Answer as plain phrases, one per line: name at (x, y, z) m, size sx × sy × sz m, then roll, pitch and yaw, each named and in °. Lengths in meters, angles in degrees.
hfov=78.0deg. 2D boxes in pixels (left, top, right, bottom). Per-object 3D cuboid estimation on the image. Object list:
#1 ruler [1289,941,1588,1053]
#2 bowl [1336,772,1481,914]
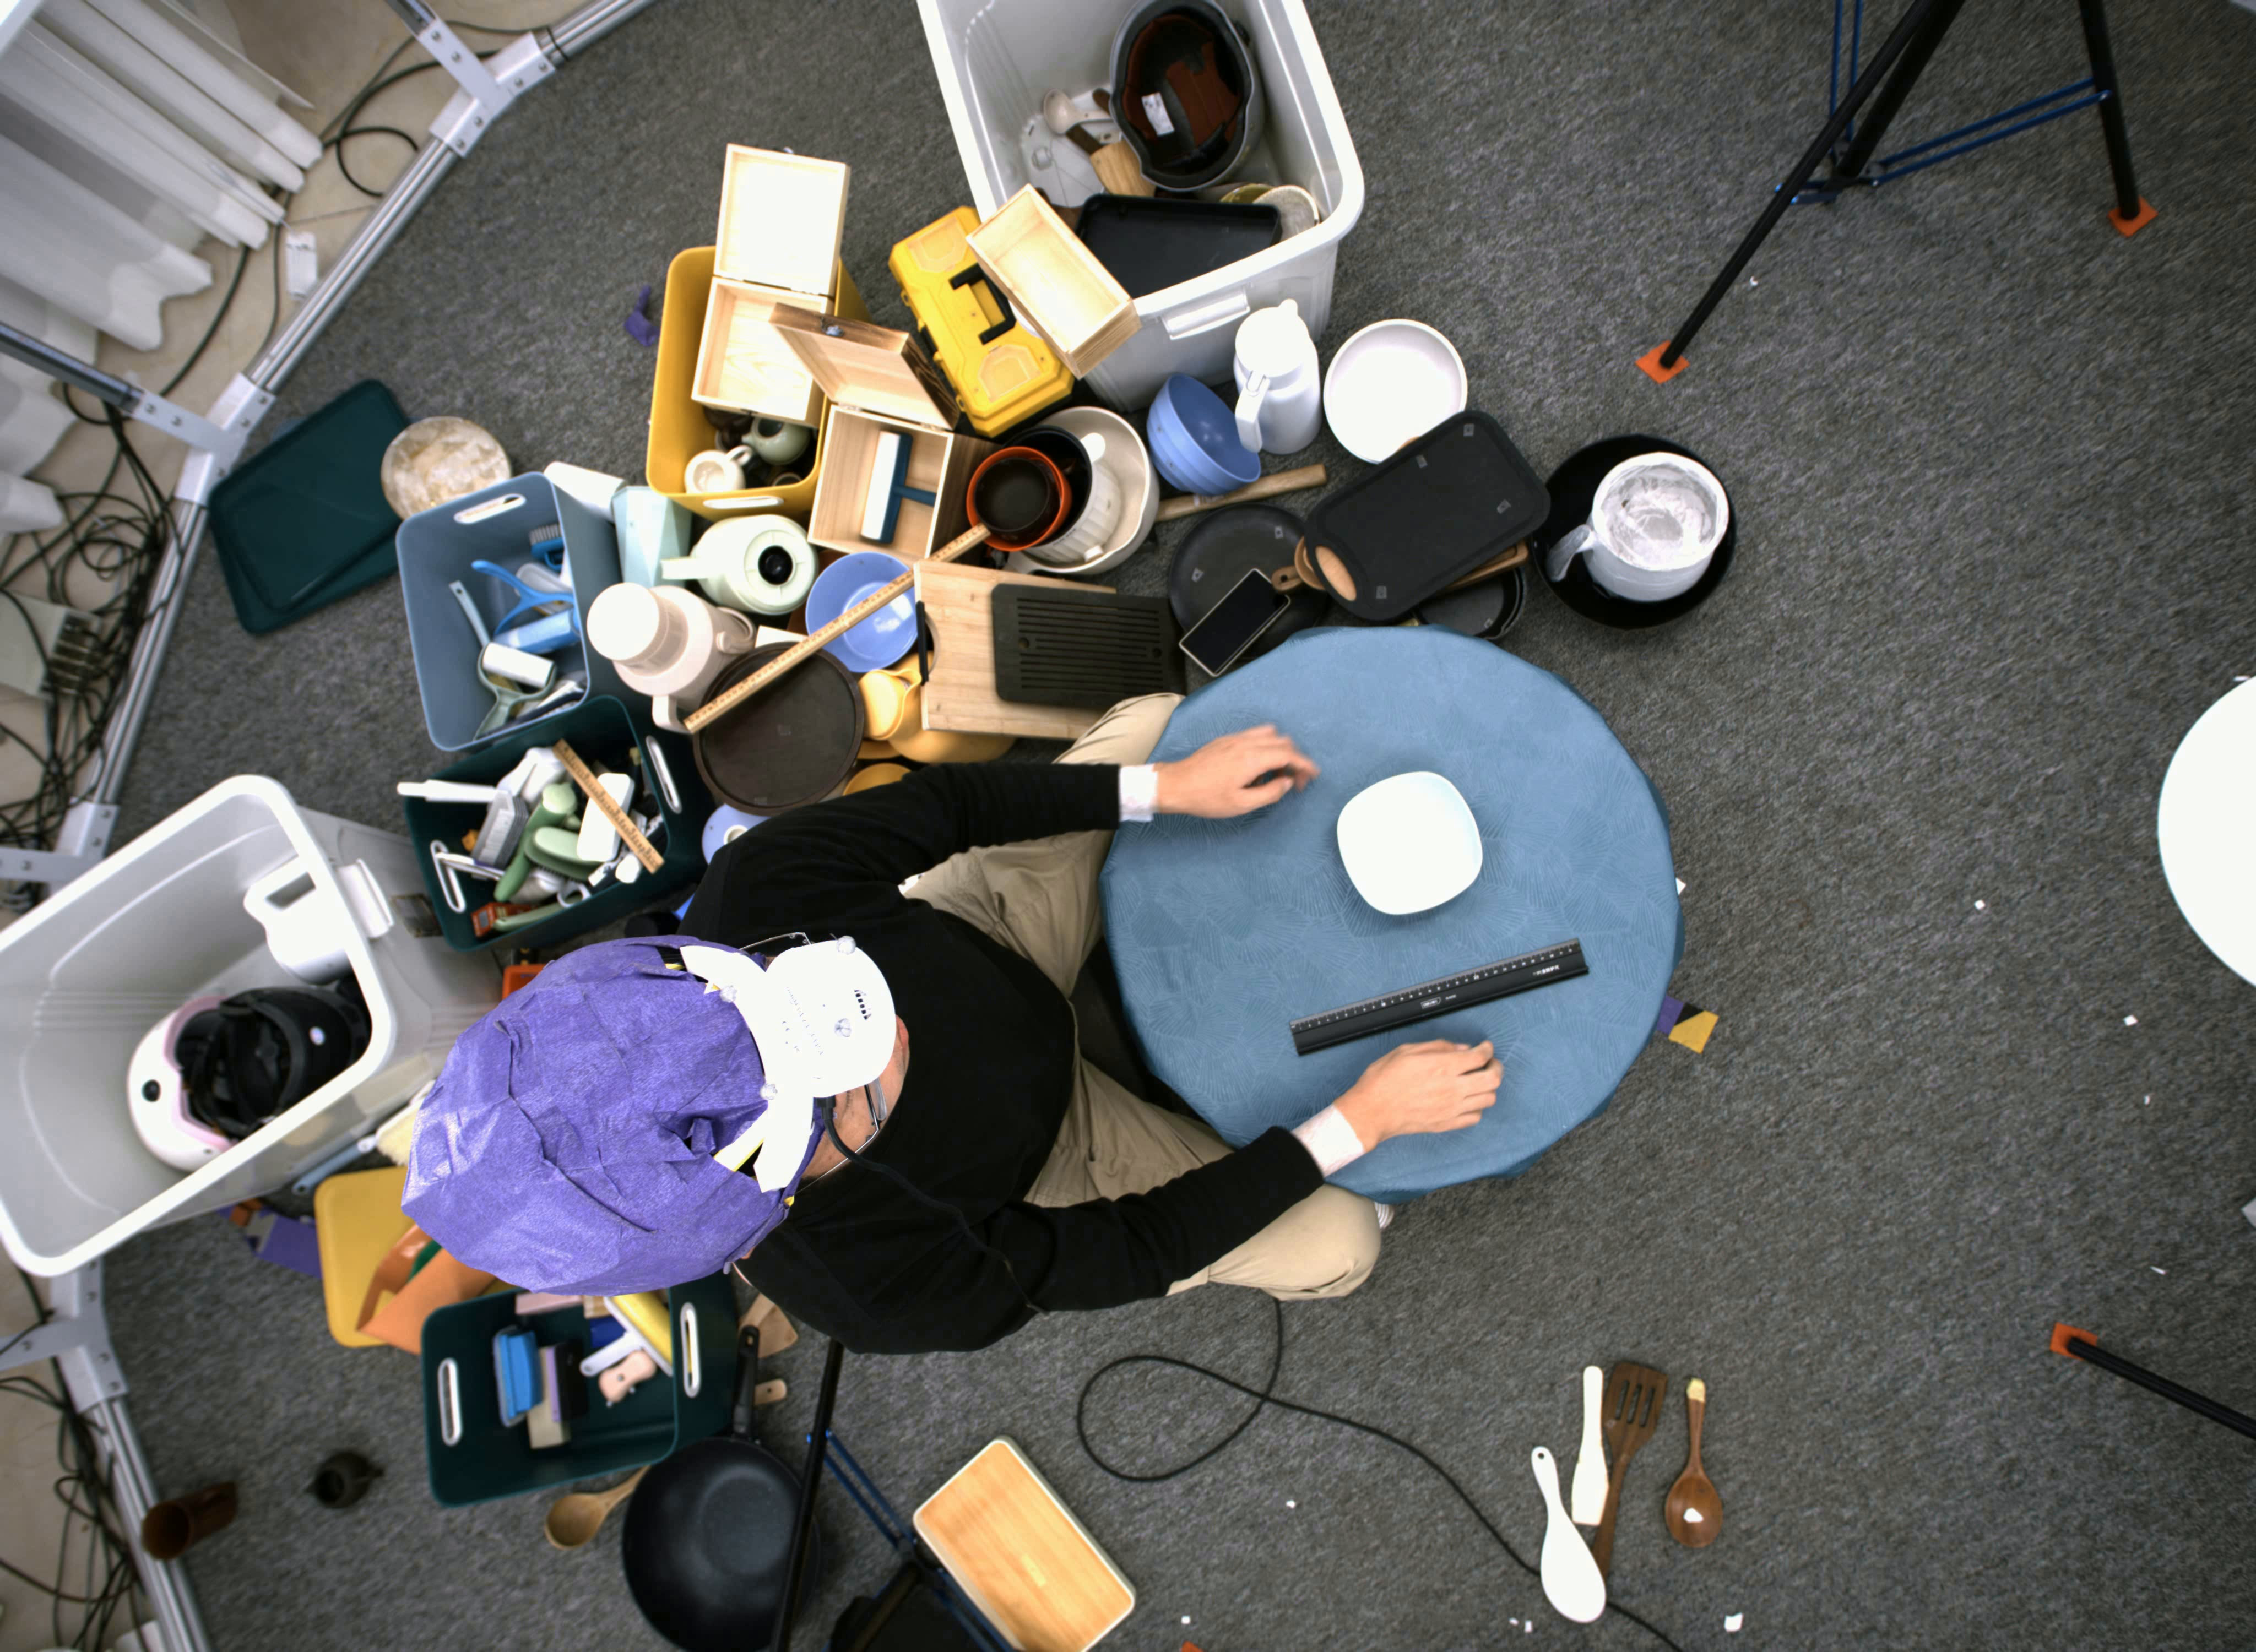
ruler at (0.322, 0.176, 1.437) m, size 0.314 × 0.017 × 0.039 m, roll -17°, pitch 79°, yaw 9°
bowl at (0.289, 0.018, 1.431) m, size 0.152 × 0.059 × 0.151 m, roll -1°, pitch 86°, yaw 8°
